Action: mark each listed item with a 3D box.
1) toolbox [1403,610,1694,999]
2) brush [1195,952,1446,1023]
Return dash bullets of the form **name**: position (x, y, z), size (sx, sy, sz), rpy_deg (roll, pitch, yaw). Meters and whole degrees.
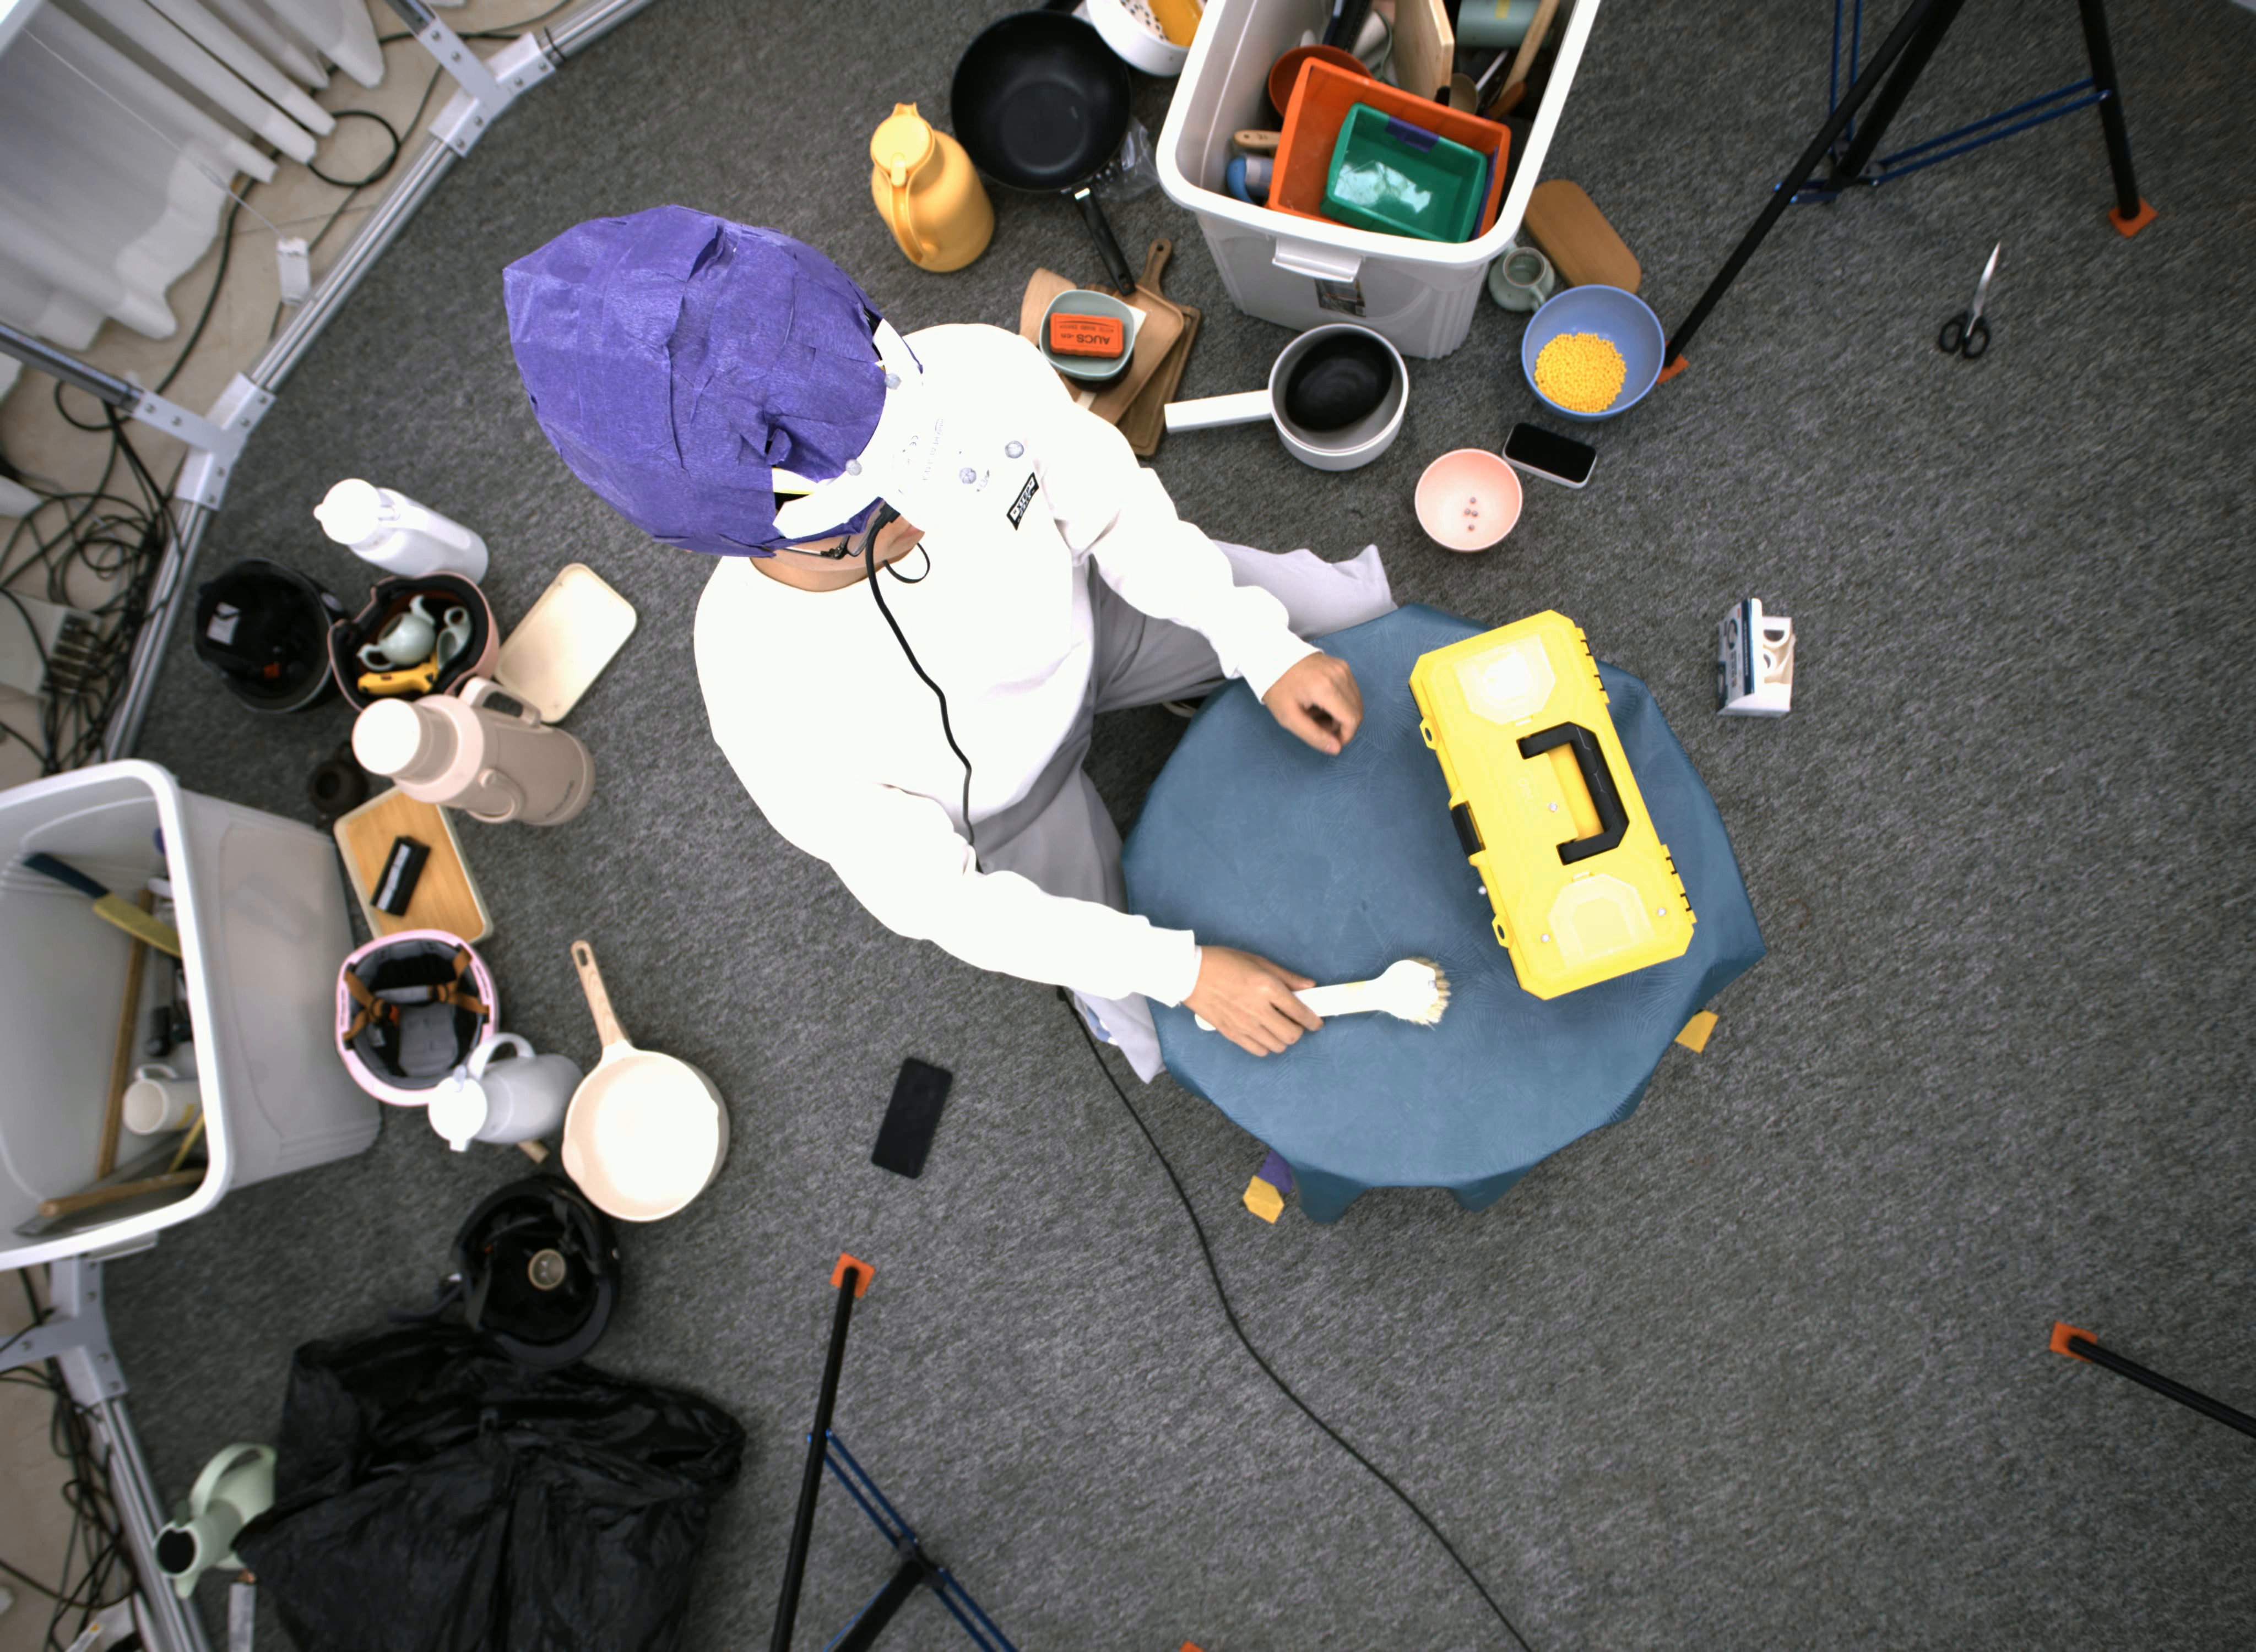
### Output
- **toolbox**: position (0.406, -0.019, 1.351), size (0.182, 0.173, 0.349), rpy_deg (-19, 82, 7)
- **brush**: position (0.202, 0.180, 1.458), size (0.269, 0.057, 0.067), rpy_deg (-13, 63, 25)
